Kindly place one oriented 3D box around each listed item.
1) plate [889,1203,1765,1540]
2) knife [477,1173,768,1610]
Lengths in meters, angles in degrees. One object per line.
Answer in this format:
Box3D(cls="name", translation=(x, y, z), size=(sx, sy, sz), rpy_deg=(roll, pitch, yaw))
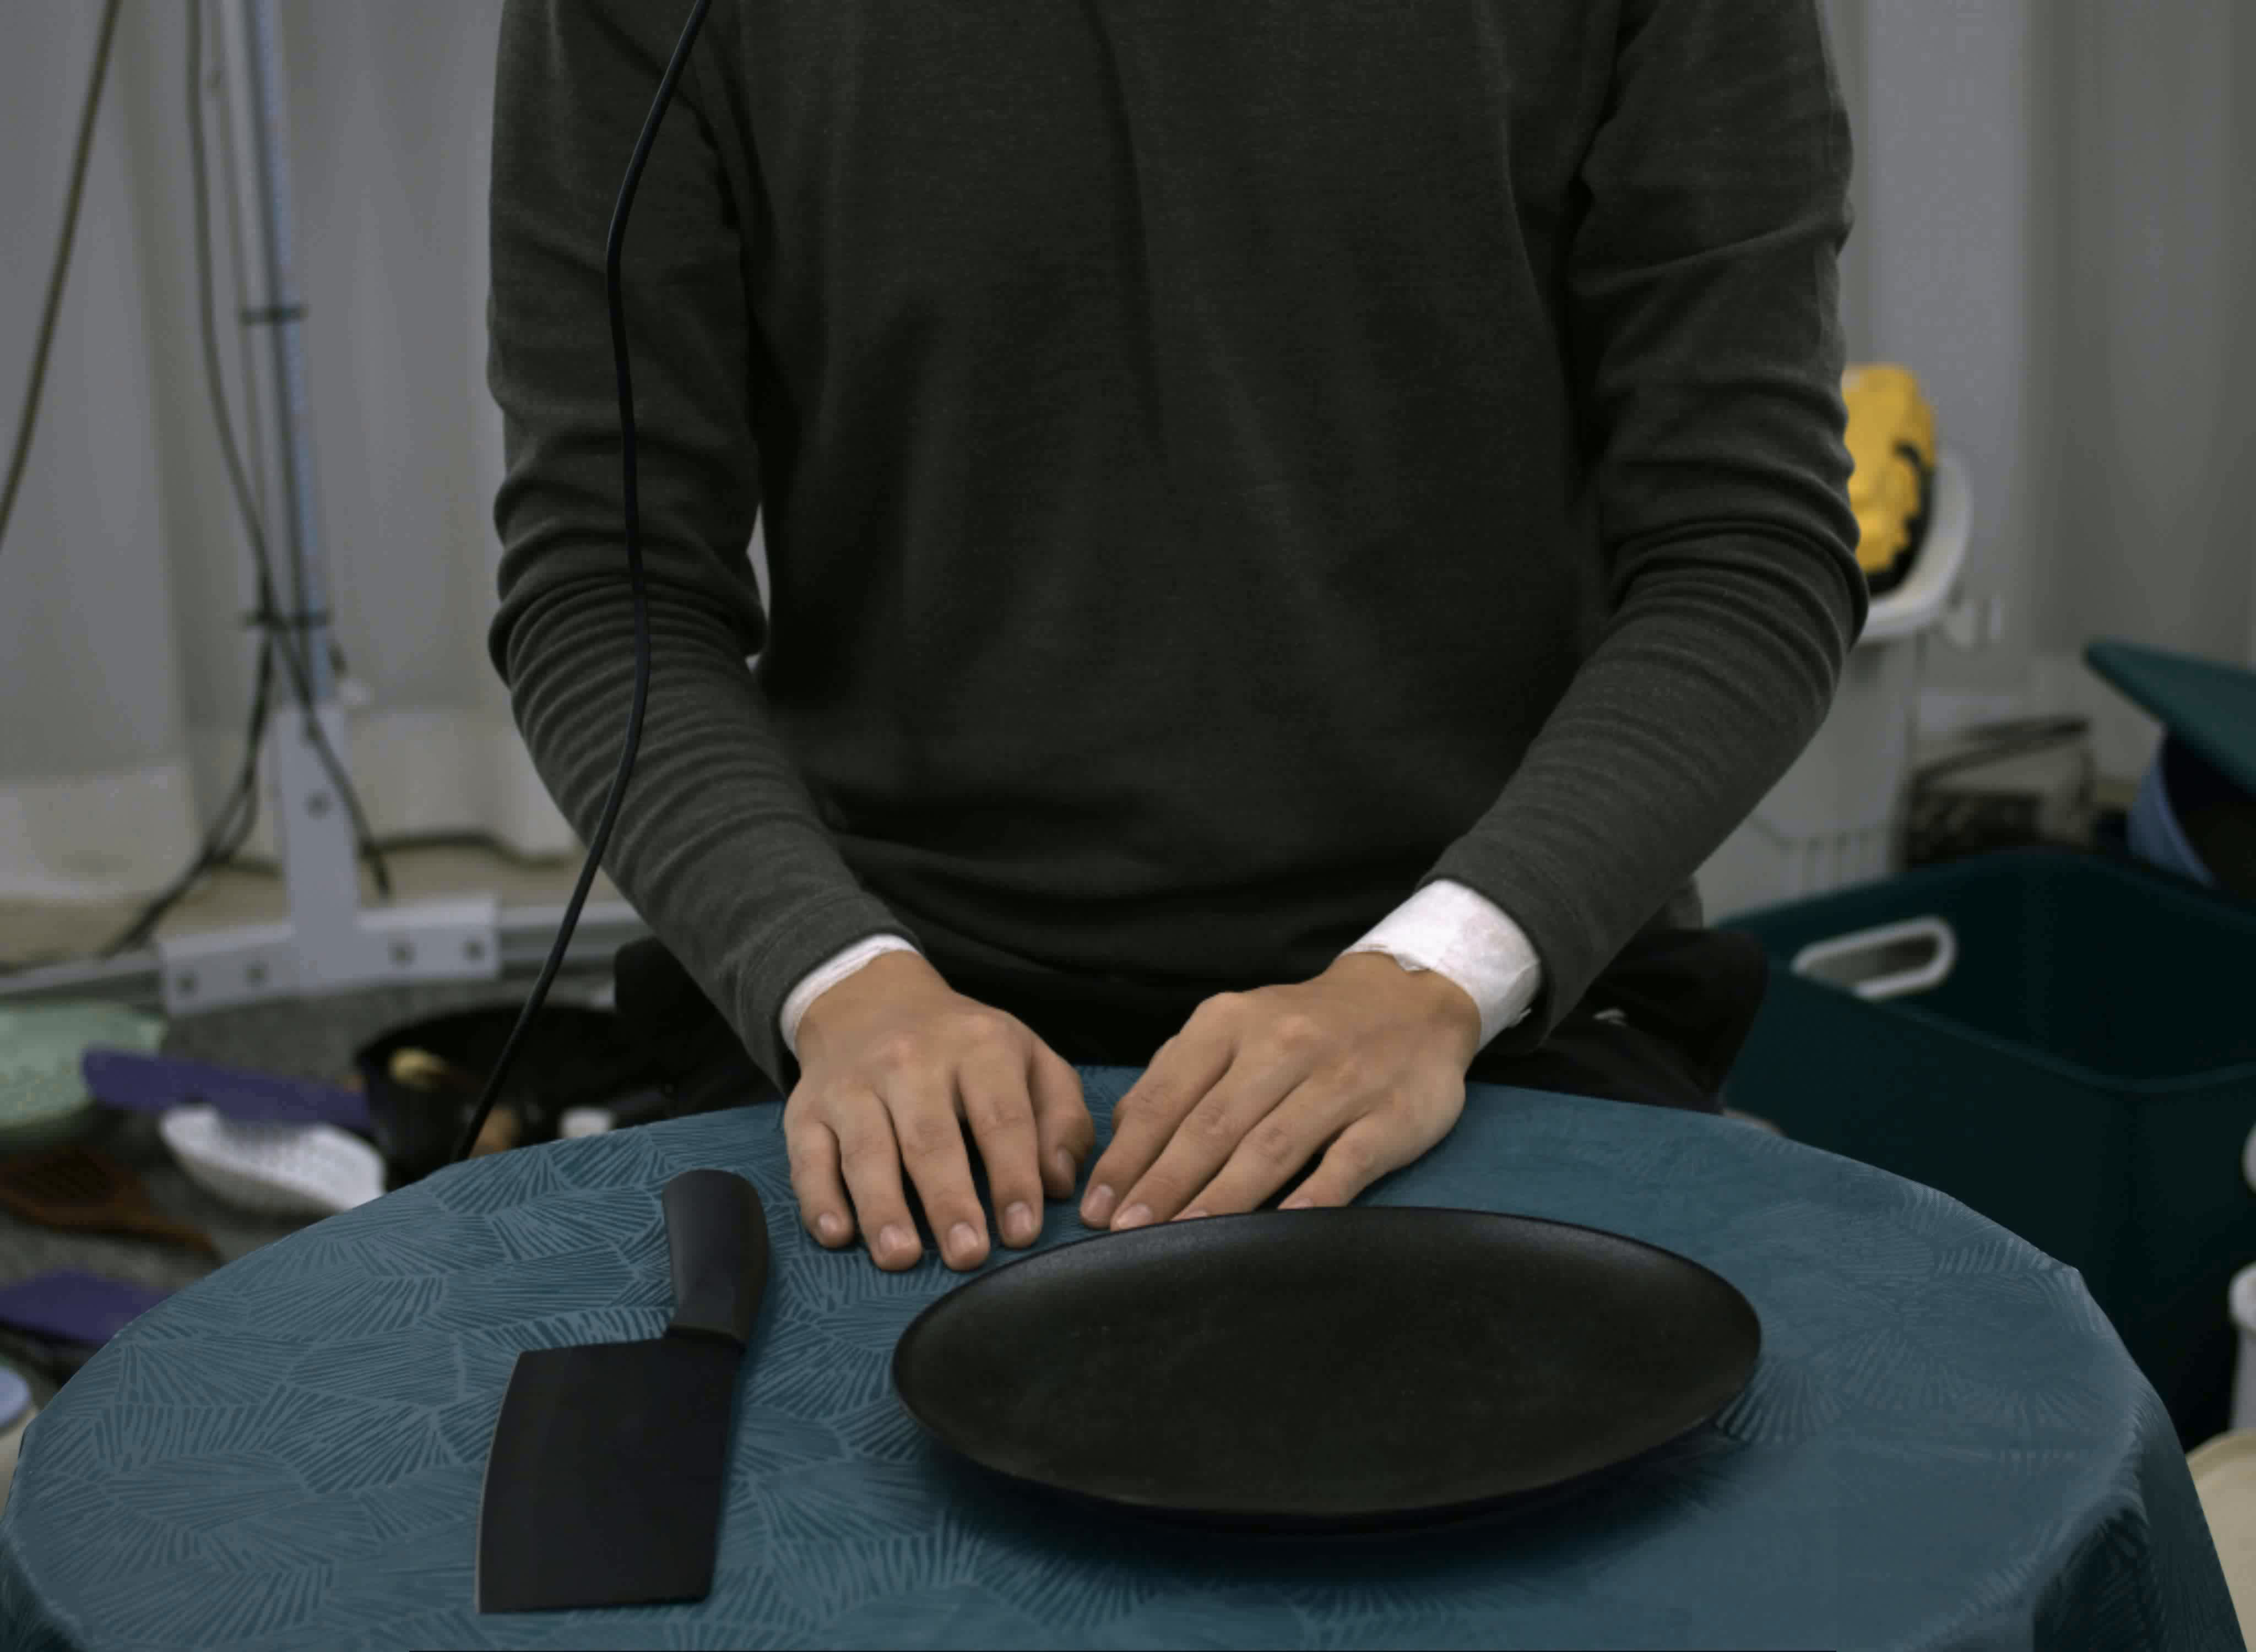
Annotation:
Box3D(cls="plate", translation=(0.055, 0.154, 1.516), size=(0.243, 0.023, 0.246), rpy_deg=(-3, 15, 0))
Box3D(cls="knife", translation=(-0.139, 0.159, 1.553), size=(0.081, 0.021, 0.304), rpy_deg=(-3, 16, 4))
